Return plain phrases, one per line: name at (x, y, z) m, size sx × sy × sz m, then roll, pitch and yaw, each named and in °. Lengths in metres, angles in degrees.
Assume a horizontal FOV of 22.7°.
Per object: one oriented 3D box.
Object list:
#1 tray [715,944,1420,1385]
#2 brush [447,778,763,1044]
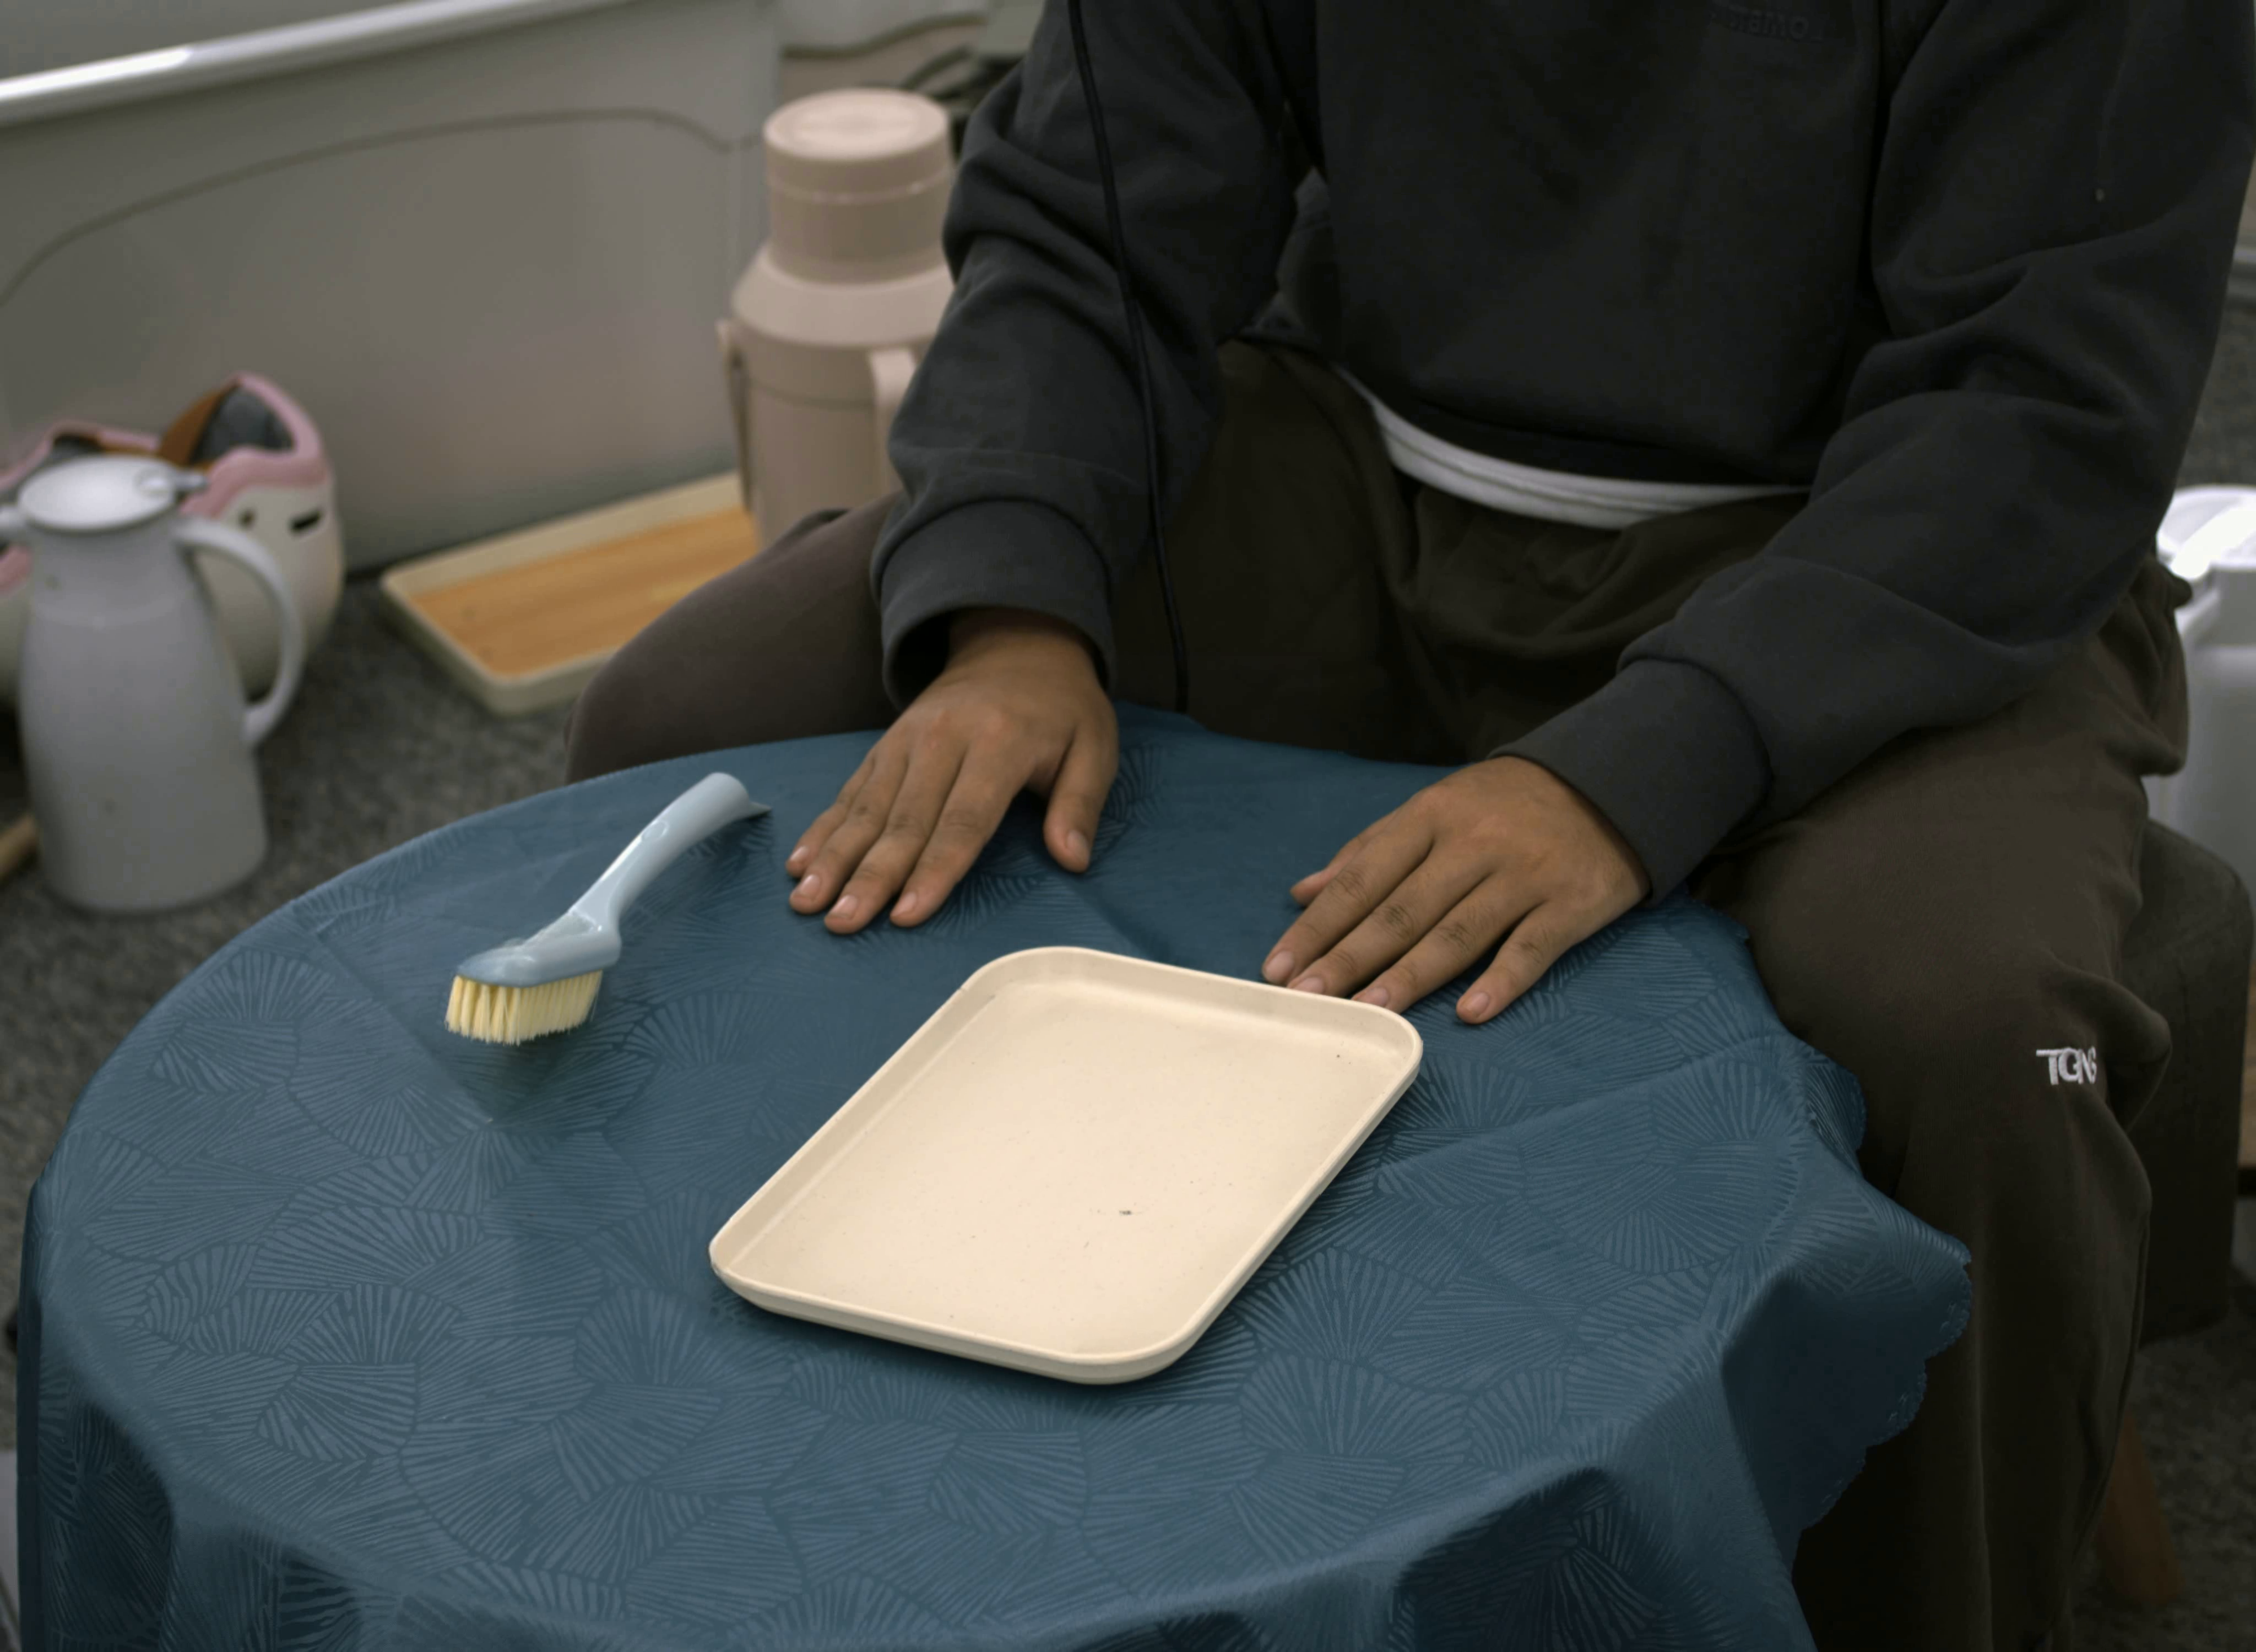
tray at (-0.017, 0.111, 1.867) m, size 0.170 × 0.017 × 0.244 m, roll 11°, pitch 30°, yaw 23°
brush at (-0.185, 0.031, 2.023) m, size 0.037 × 0.049 × 0.232 m, roll 13°, pitch 22°, yaw 15°
